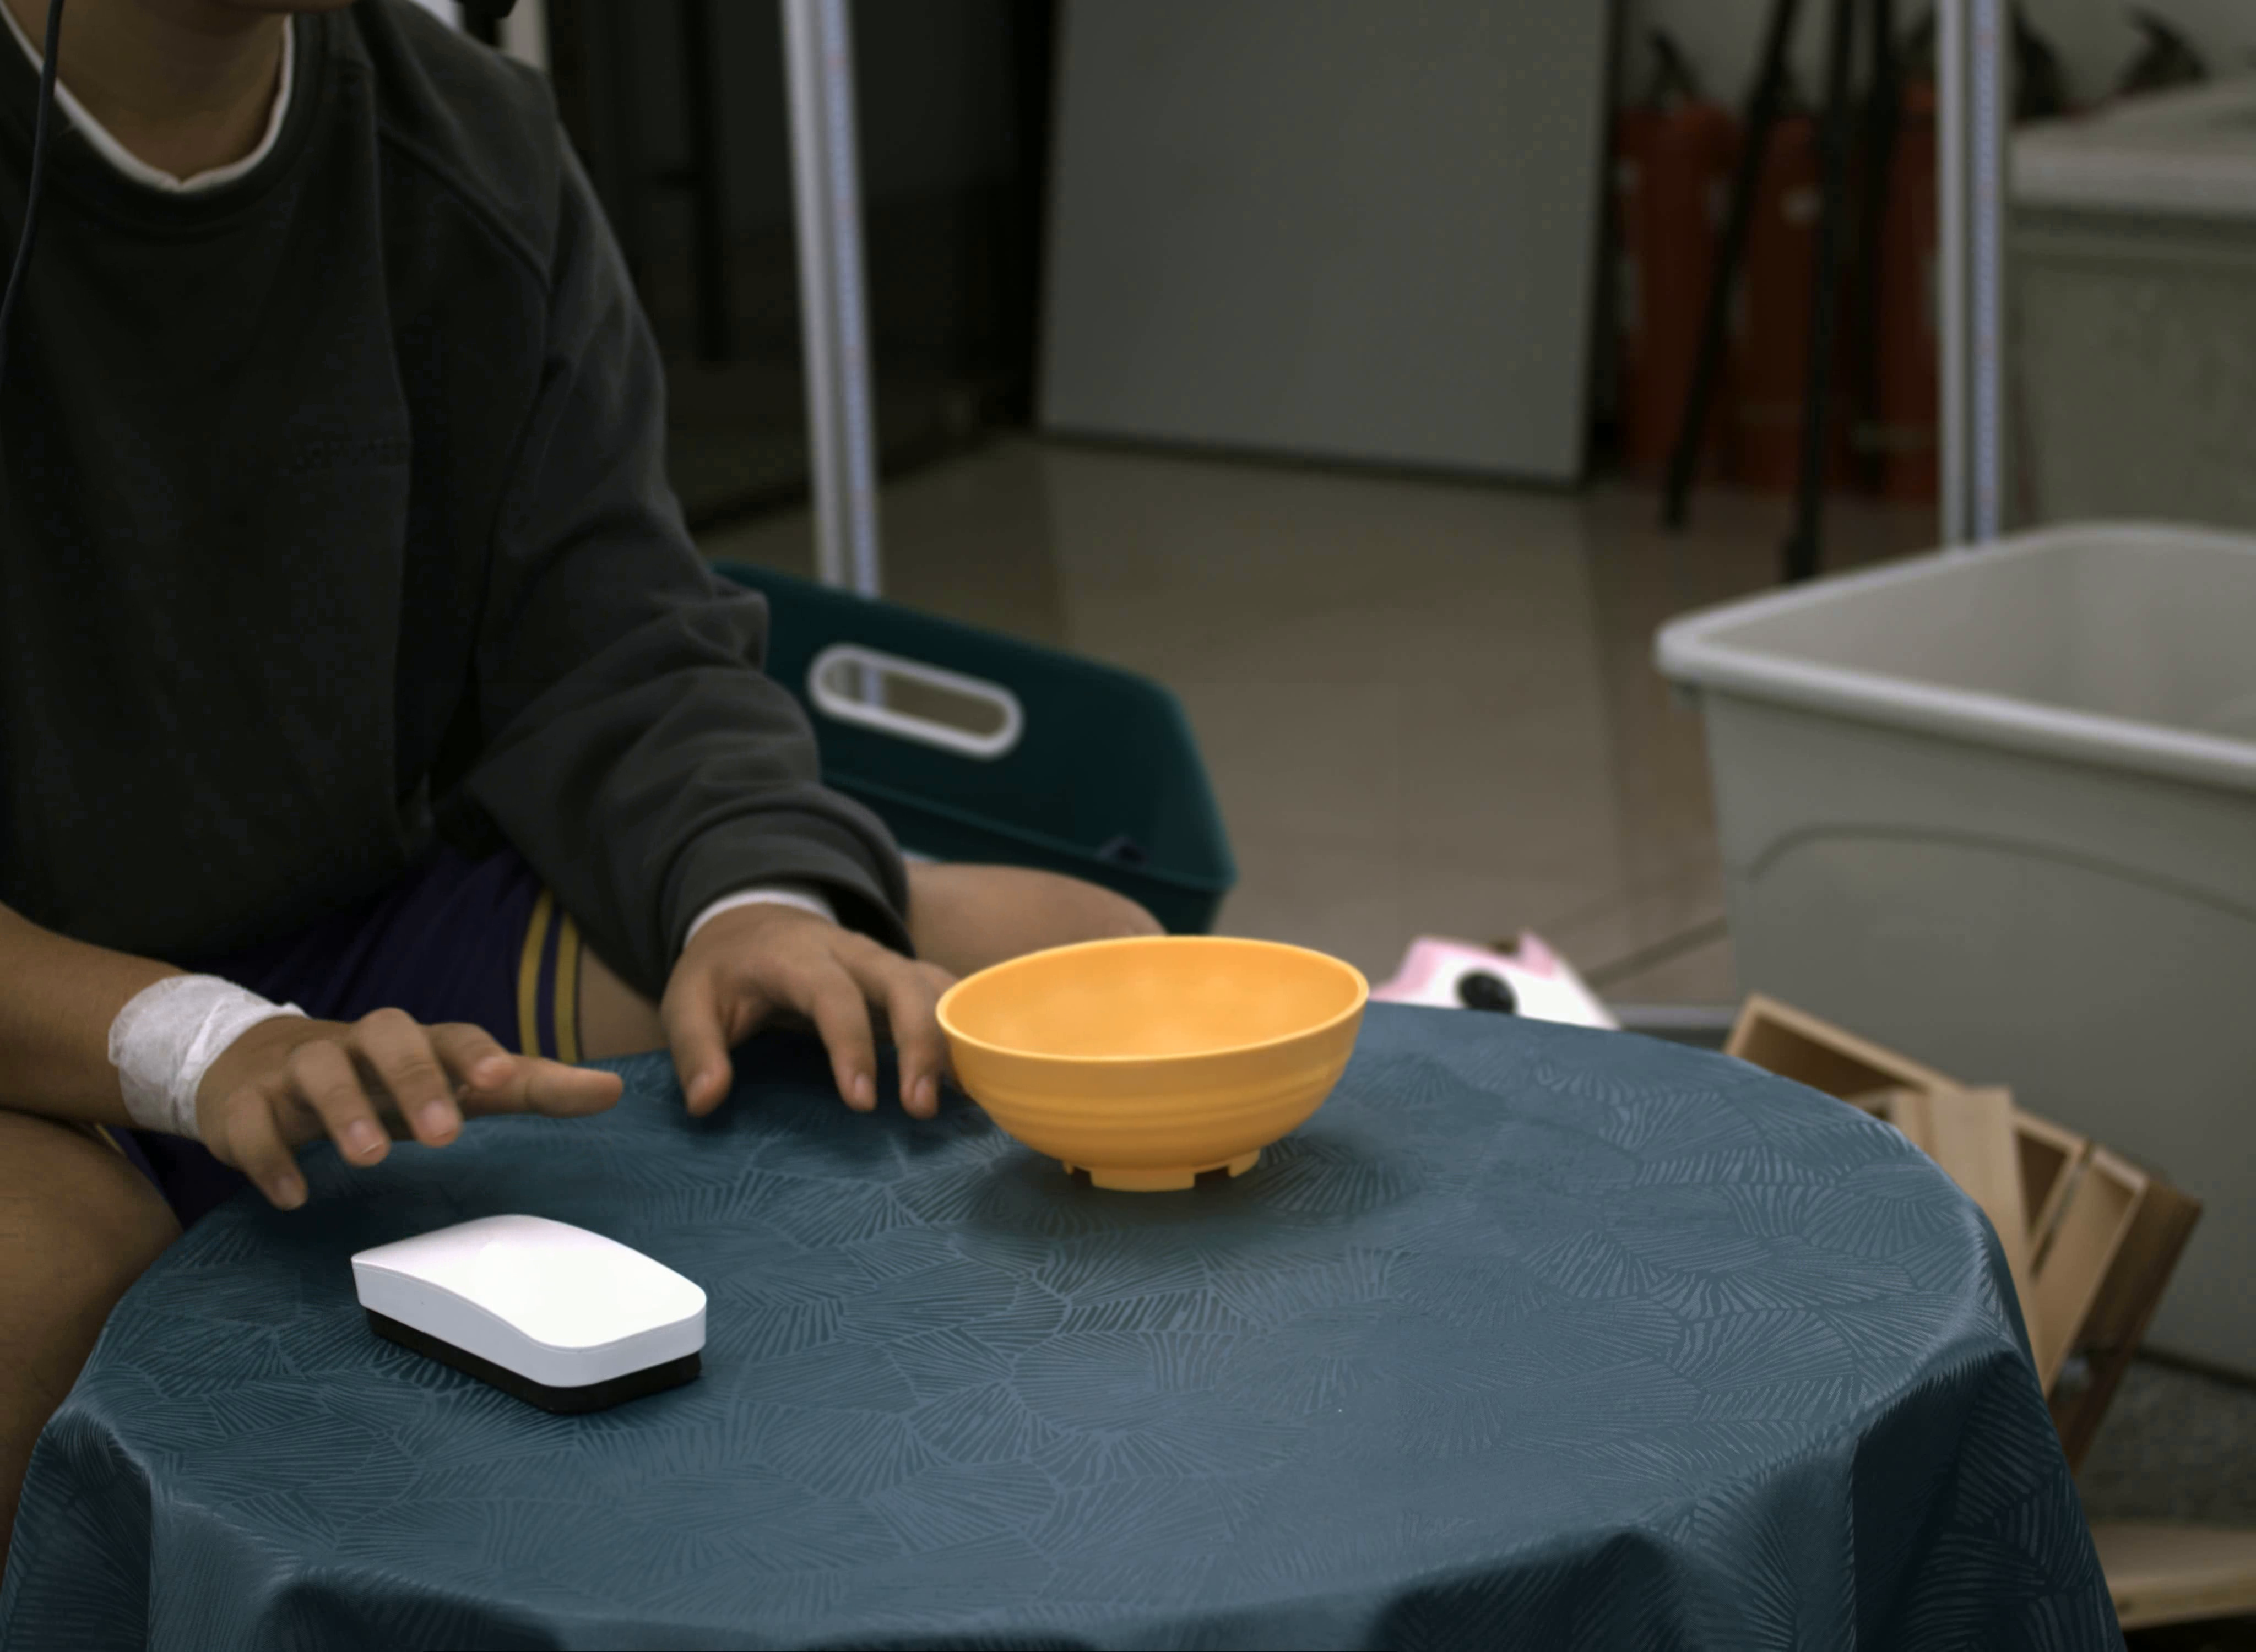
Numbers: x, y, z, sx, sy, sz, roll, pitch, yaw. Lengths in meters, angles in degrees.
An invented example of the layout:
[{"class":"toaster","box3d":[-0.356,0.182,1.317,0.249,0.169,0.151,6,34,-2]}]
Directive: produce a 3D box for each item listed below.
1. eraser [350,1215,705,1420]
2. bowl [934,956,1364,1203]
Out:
[{"class":"eraser","box3d":[-0.182,0.146,1.651,0.062,0.035,0.132,-13,17,-35]},{"class":"bowl","box3d":[0.009,0.088,1.790,0.143,0.061,0.145,-4,11,0]}]
